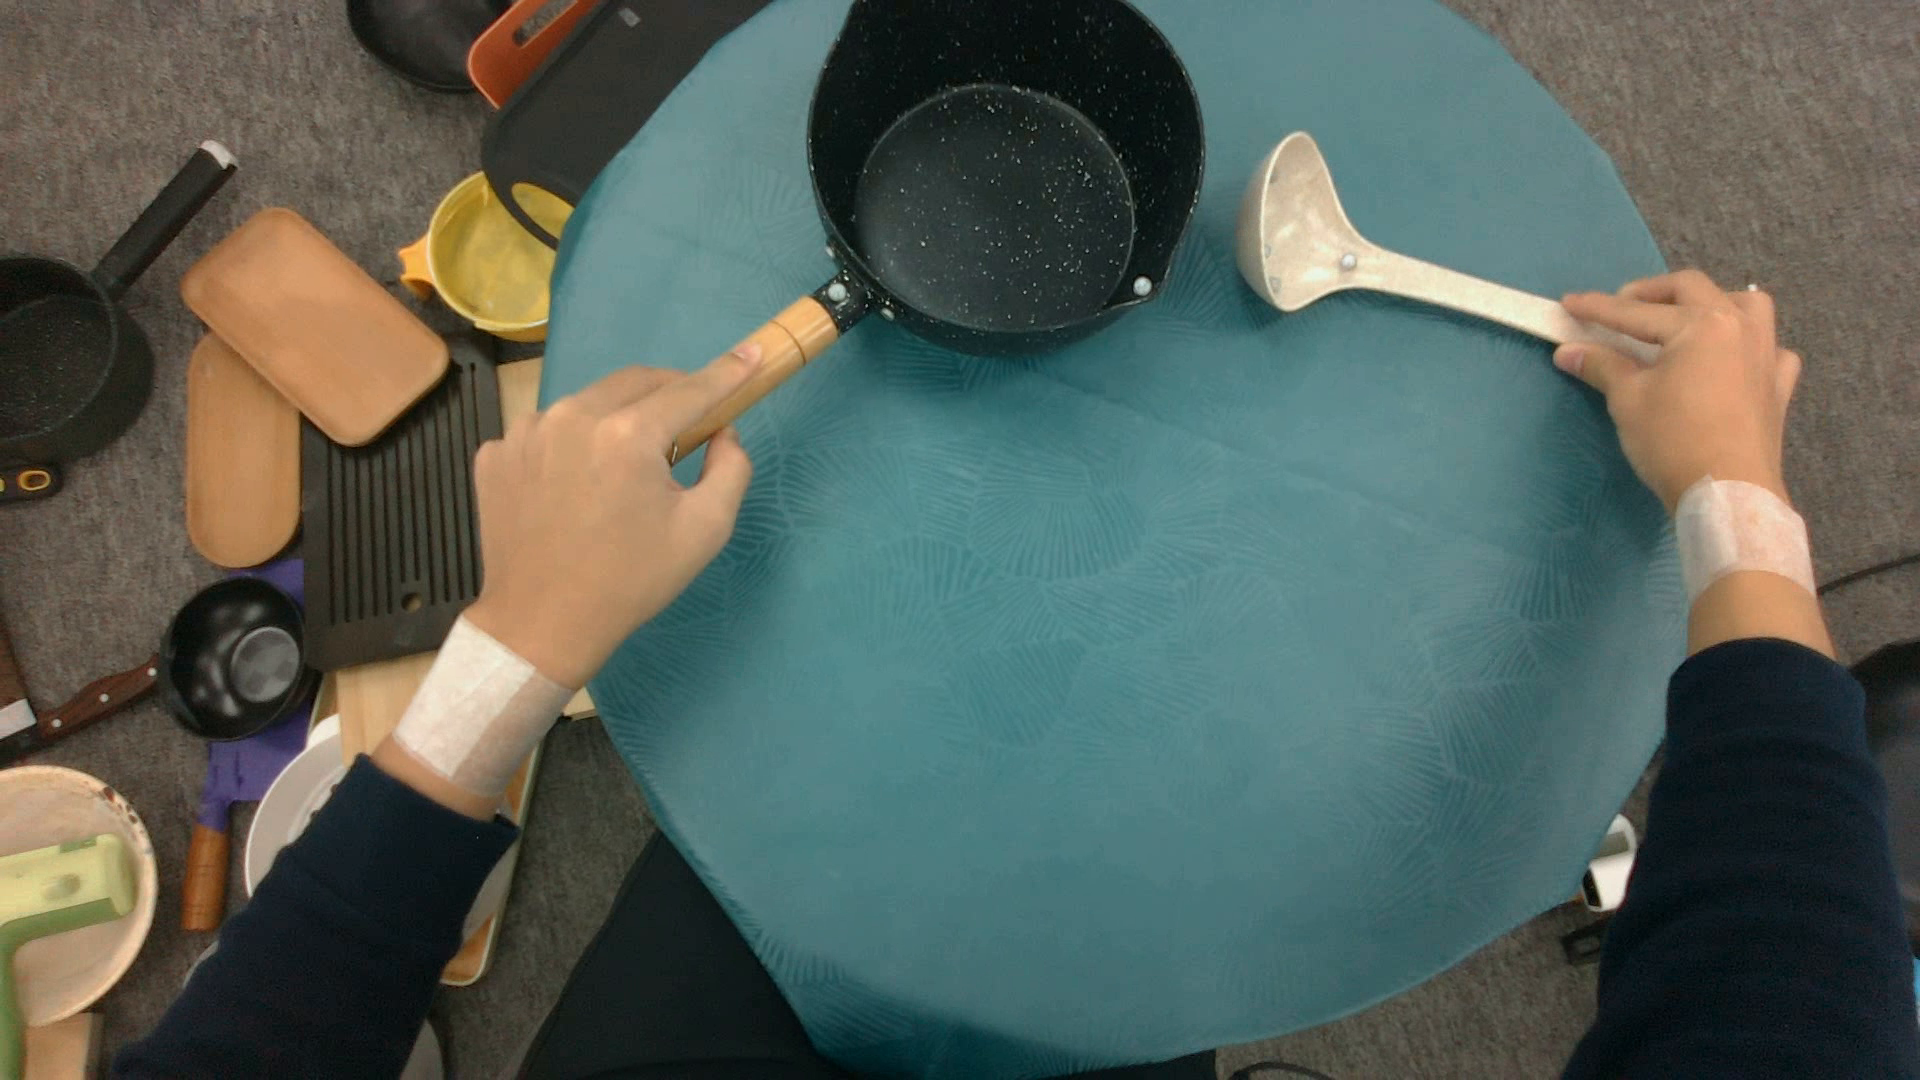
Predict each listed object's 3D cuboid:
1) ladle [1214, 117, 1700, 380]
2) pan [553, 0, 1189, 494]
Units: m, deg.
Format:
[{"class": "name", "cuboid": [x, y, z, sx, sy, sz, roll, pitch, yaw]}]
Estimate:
[{"class": "ladle", "cuboid": [0.260, -0.137, 0.690, 0.275, 0.069, 0.089, 16, 70, -1]}, {"class": "pan", "cuboid": [-0.043, -0.130, 0.648, 0.207, 0.108, 0.343, 45, 78, 5]}]
